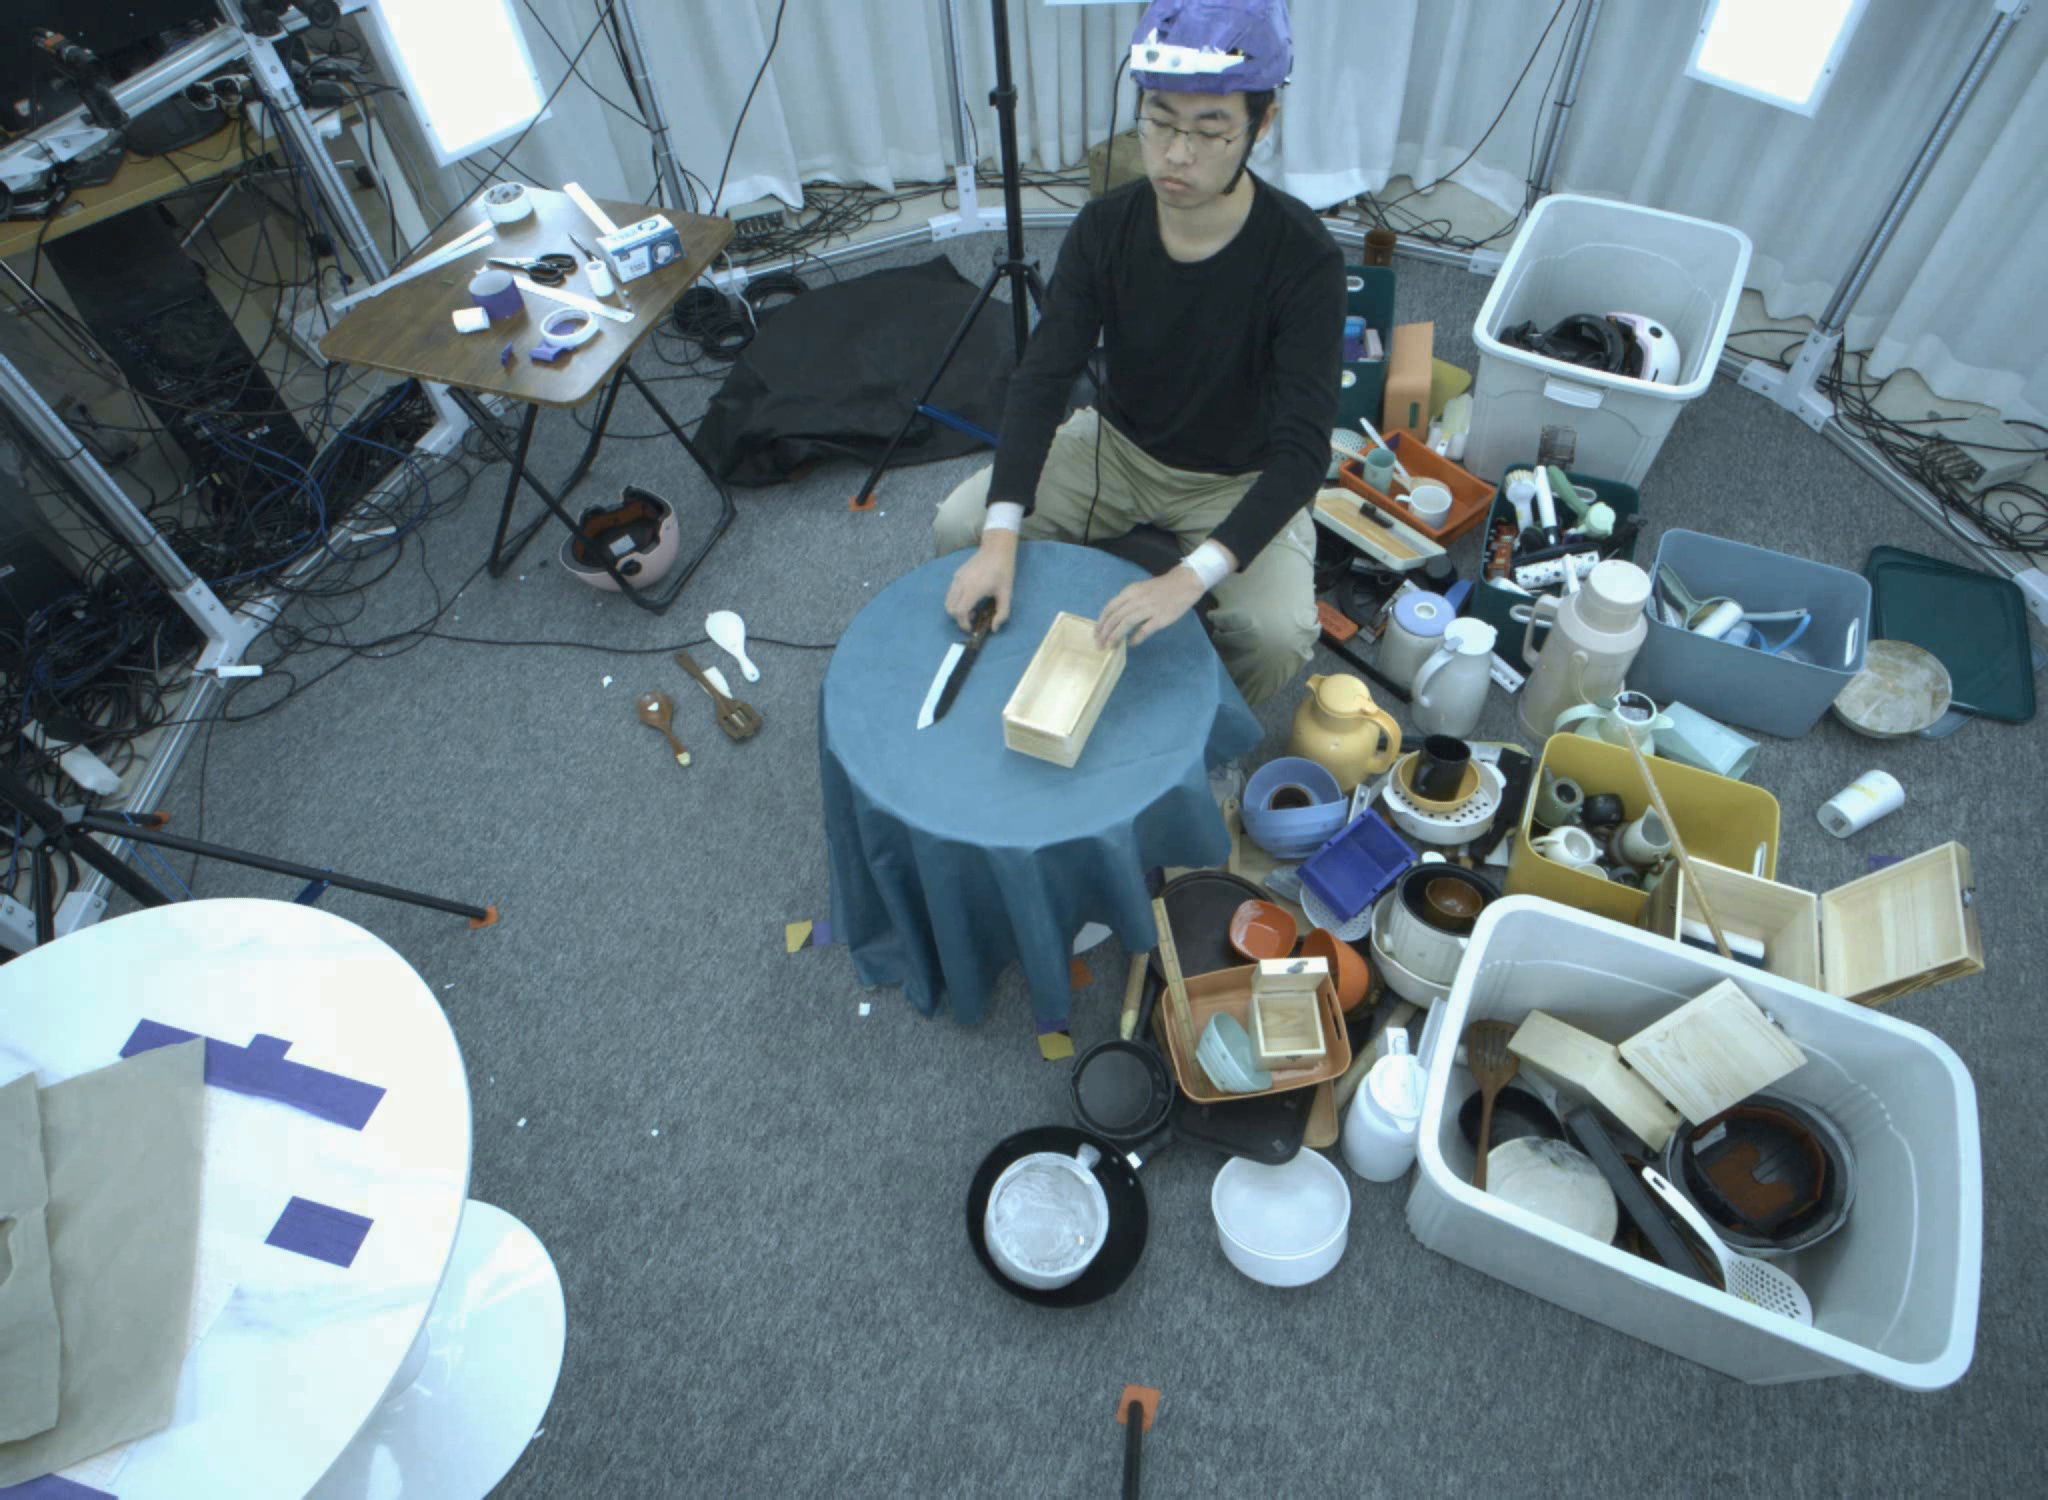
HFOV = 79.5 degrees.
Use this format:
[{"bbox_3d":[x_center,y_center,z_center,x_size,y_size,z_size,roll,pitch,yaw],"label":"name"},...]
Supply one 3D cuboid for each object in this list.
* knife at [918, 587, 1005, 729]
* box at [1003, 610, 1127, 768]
[{"bbox_3d":[-0.095,-0.143,1.883,0.049,0.020,0.289,15,59,21],"label":"knife"},{"bbox_3d":[0.063,-0.091,1.801,0.106,0.081,0.211,19,58,15],"label":"box"}]
